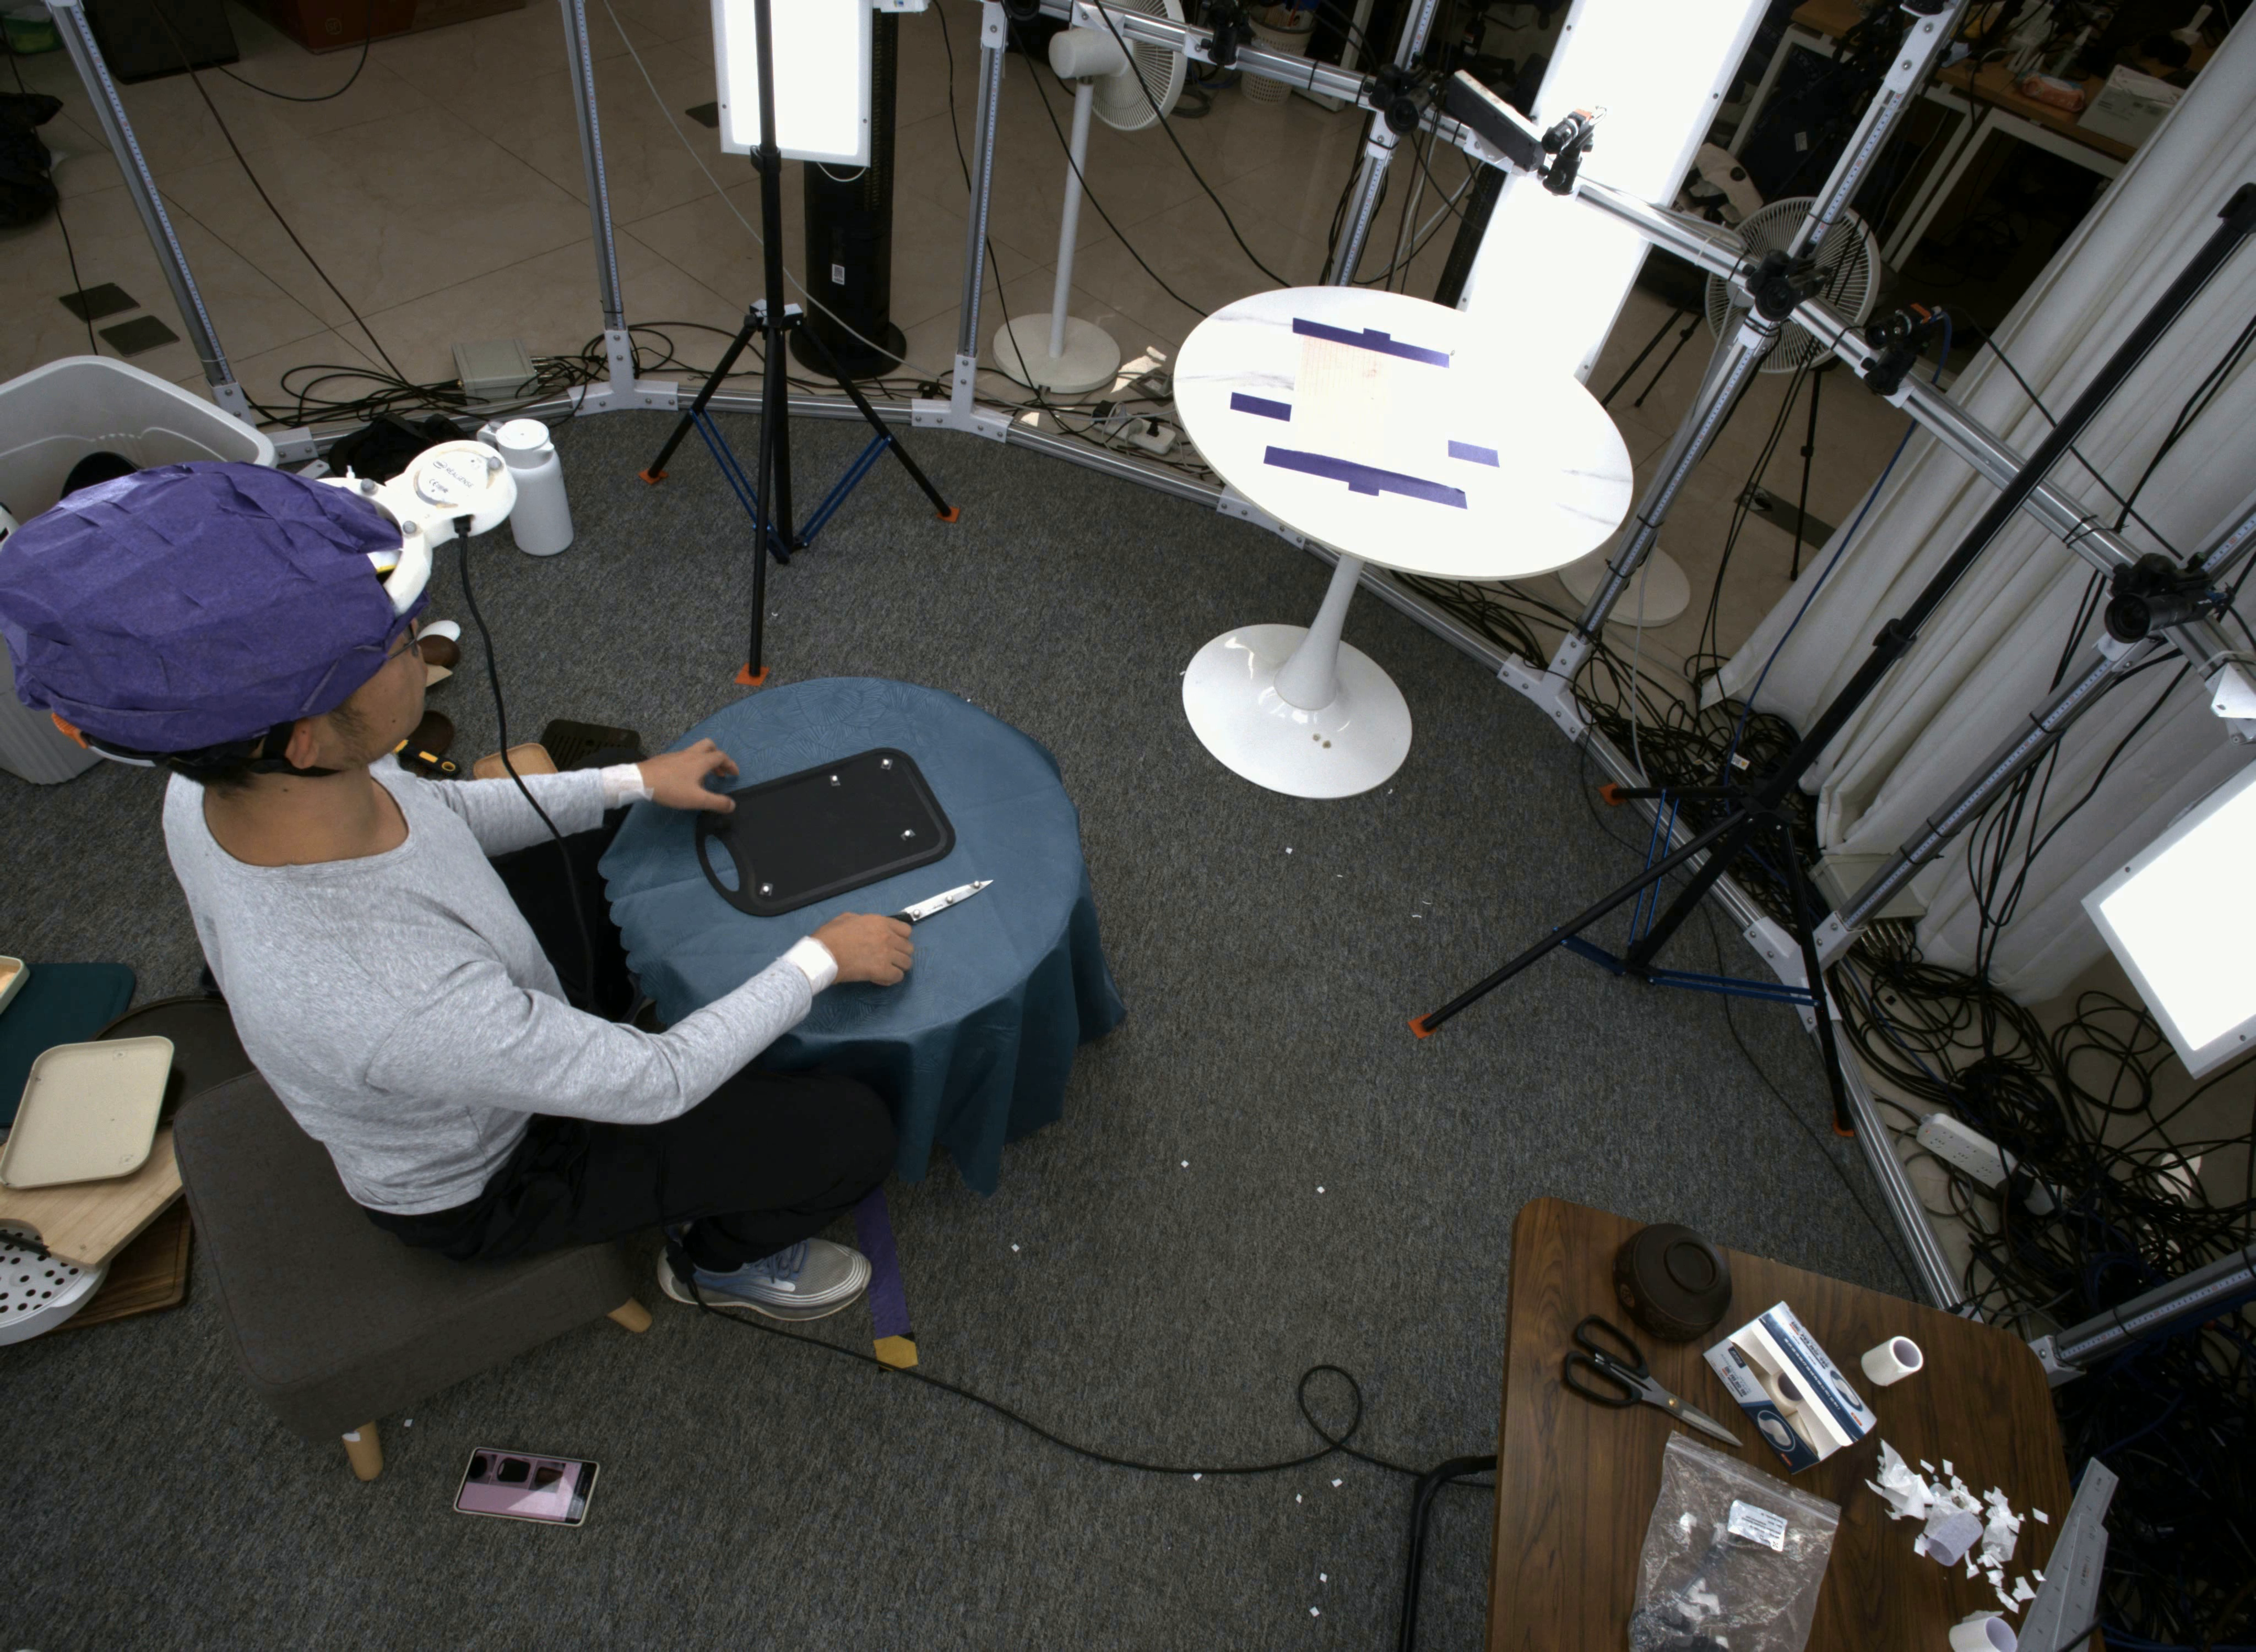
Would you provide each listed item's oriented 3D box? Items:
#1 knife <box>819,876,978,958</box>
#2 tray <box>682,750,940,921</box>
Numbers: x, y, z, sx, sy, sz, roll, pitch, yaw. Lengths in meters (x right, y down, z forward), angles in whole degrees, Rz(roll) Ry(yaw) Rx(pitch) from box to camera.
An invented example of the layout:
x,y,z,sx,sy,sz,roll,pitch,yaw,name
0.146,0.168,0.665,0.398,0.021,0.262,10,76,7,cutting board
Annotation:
x,y,z,sx,sy,sz,roll,pitch,yaw,name
-0.290,0.113,1.678,0.239,0.016,0.024,-26,64,-32,knife
-0.425,0.008,1.725,0.327,0.010,0.206,-20,61,-26,tray
